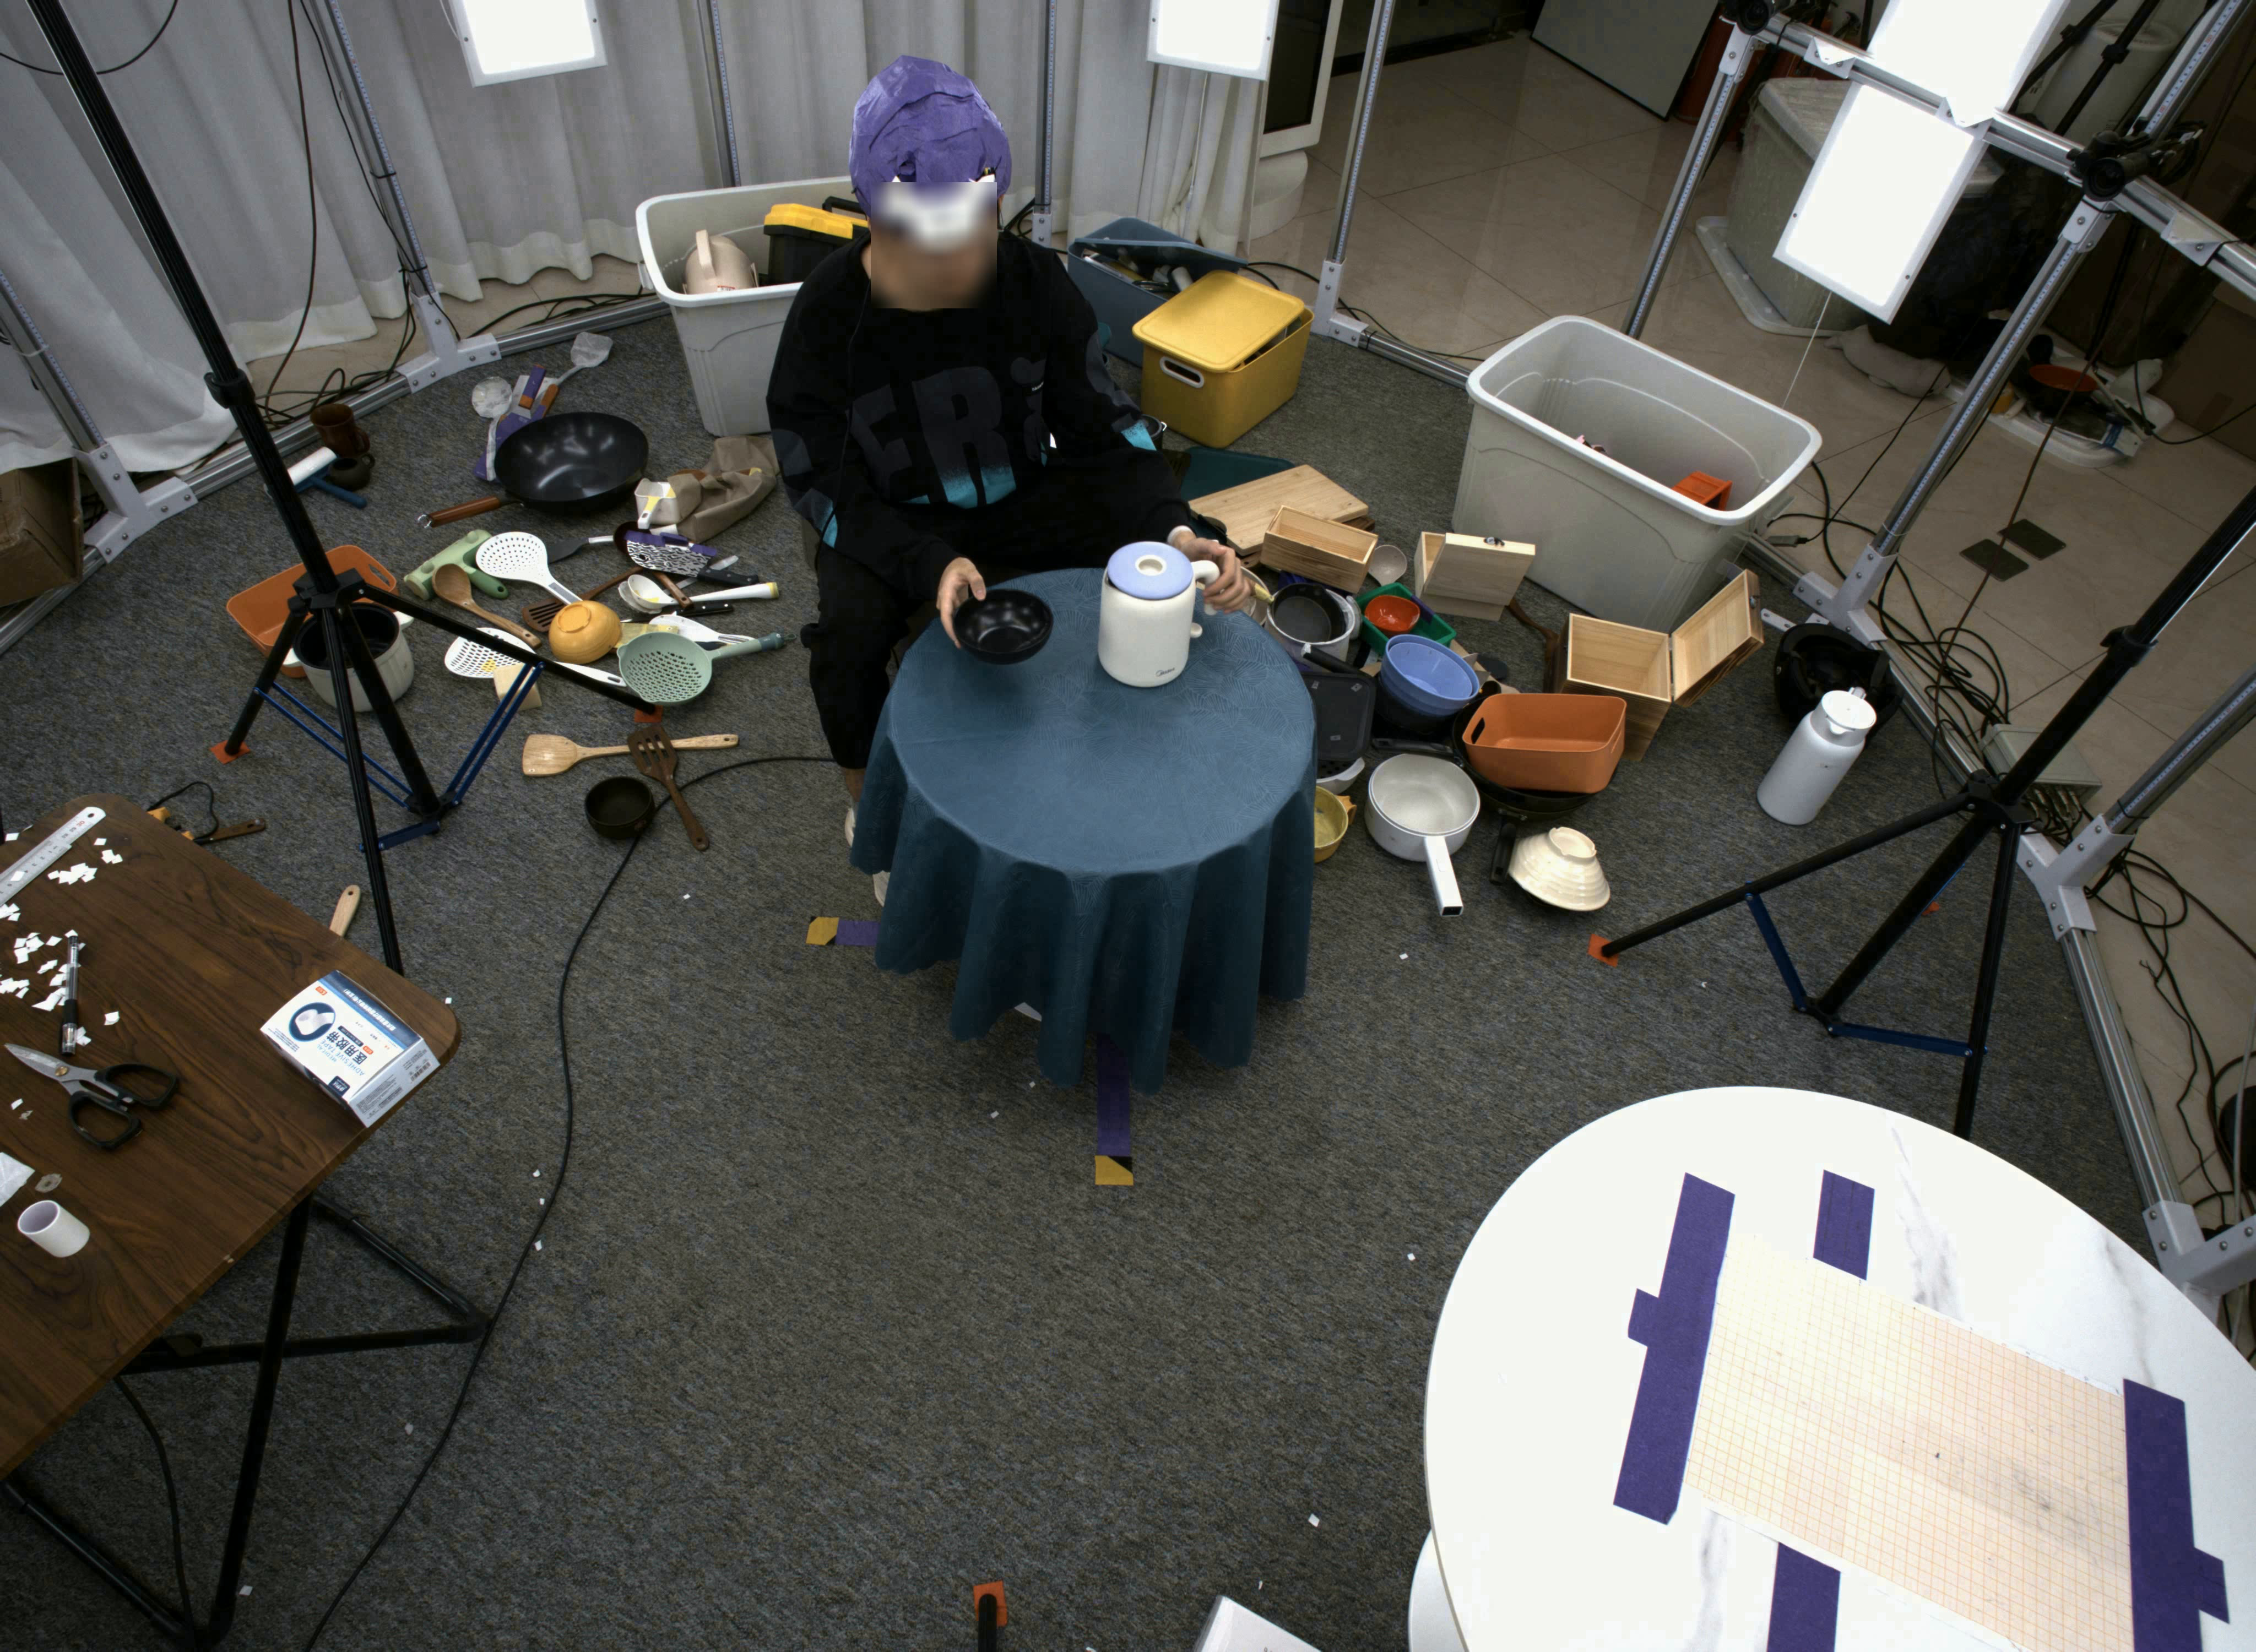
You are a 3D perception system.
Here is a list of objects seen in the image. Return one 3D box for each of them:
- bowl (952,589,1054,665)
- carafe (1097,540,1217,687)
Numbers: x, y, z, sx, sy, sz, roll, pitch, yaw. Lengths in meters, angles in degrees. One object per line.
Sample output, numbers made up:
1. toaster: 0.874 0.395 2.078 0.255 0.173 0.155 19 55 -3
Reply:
1. bowl: -0.170 -0.266 1.779 0.140 0.048 0.143 0 46 0
2. carafe: 0.046 -0.308 1.828 0.191 0.178 0.135 -20 55 -23
